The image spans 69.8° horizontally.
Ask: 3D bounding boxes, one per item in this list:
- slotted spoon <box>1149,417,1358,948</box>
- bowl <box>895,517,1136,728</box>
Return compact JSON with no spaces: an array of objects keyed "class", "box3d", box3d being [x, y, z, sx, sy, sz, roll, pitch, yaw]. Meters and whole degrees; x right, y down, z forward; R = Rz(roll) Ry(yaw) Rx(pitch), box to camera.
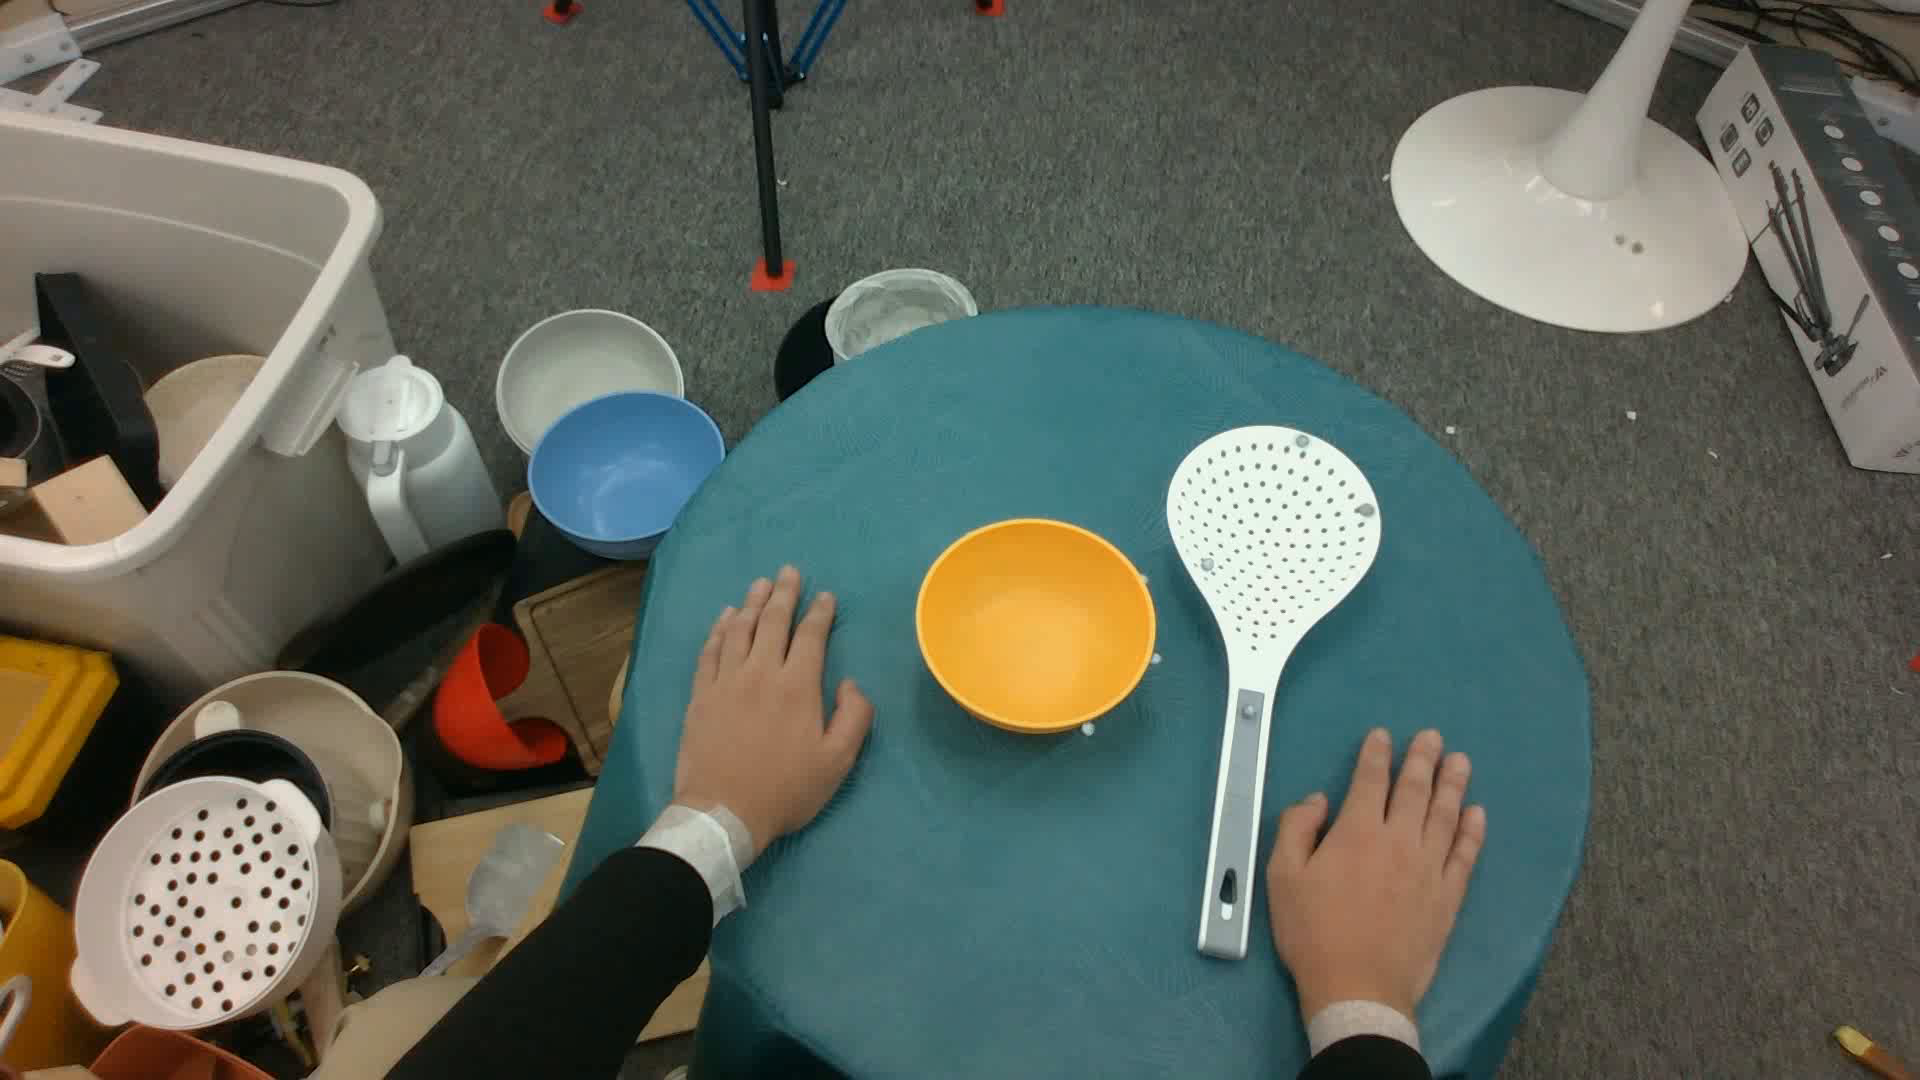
[{"class":"slotted spoon","box3d":[0.169,0.074,0.847,0.136,0.045,0.351,11,57,5]},{"class":"bowl","box3d":[0.032,0.060,0.843,0.145,0.060,0.146,1,54,-1]}]
